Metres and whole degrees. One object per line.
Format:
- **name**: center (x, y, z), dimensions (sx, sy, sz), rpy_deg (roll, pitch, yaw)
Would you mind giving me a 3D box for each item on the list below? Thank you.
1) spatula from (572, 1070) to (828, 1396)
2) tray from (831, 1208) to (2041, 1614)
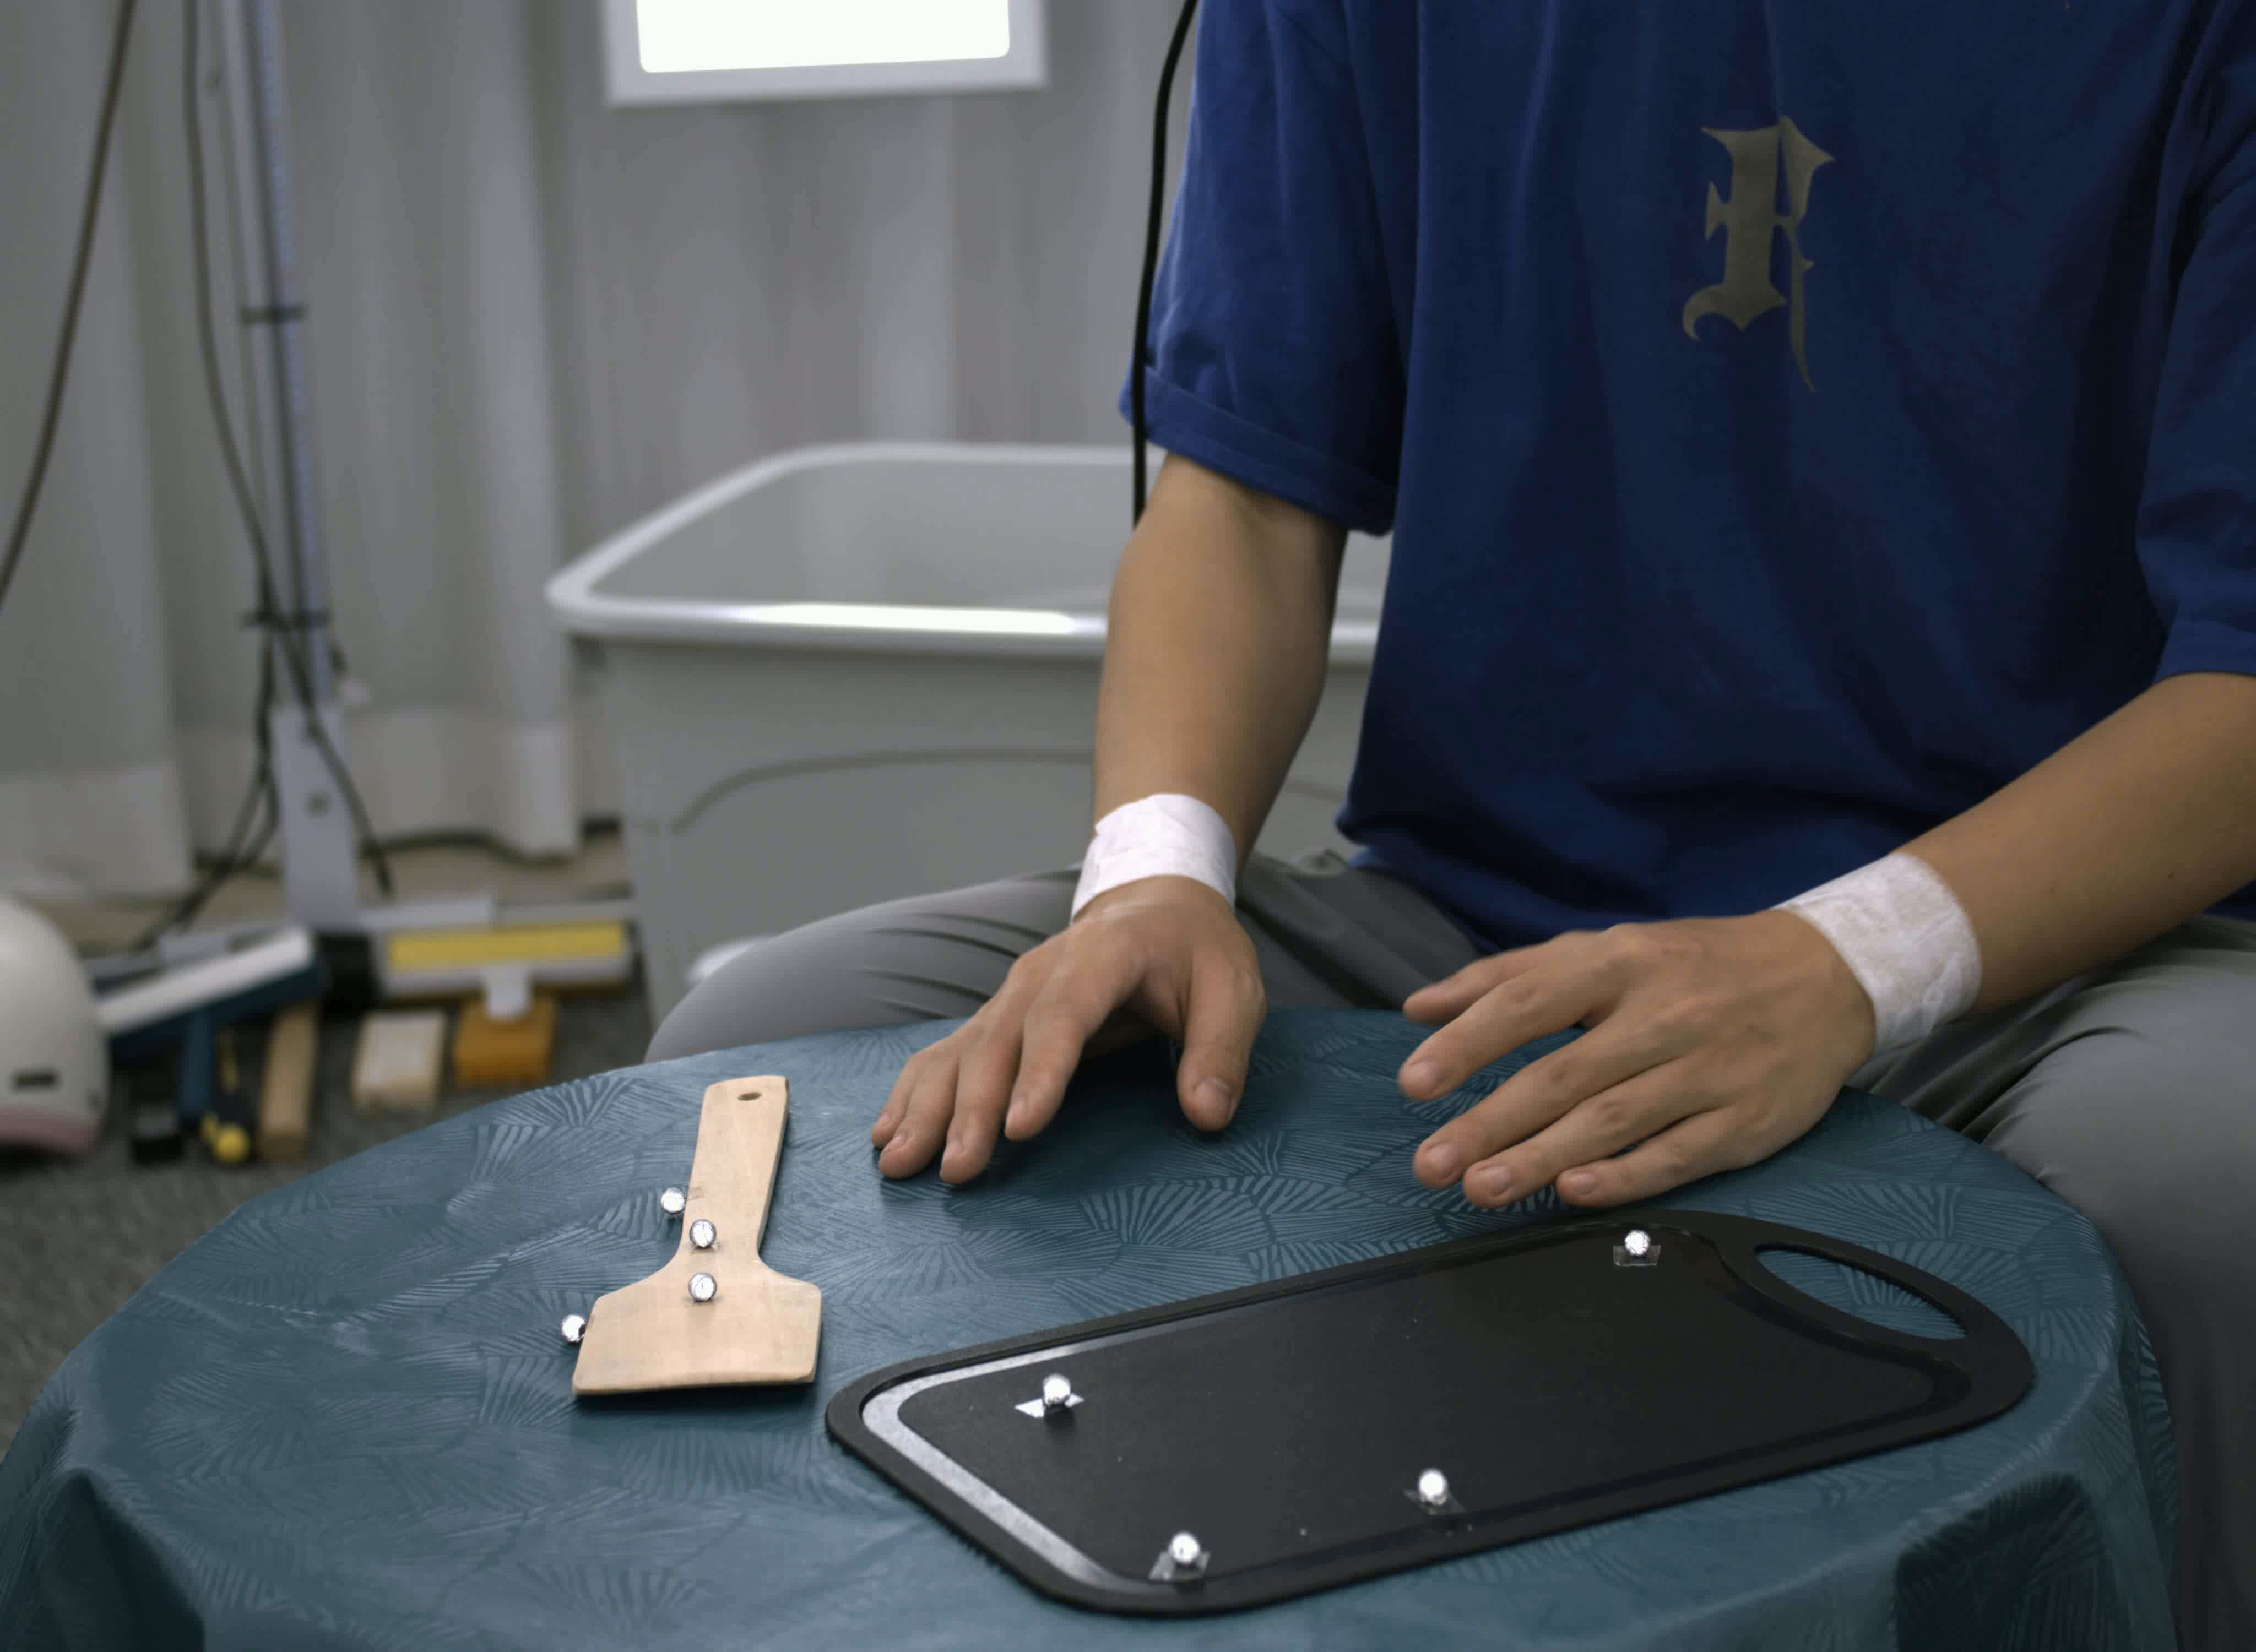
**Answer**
- **spatula**: center (-0.125, 0.123, 1.685), dimensions (0.072, 0.010, 0.295), rpy_deg (-4, 15, 0)
- **tray**: center (0.091, 0.155, 1.525), dimensions (0.324, 0.010, 0.213), rpy_deg (-10, 16, -24)
